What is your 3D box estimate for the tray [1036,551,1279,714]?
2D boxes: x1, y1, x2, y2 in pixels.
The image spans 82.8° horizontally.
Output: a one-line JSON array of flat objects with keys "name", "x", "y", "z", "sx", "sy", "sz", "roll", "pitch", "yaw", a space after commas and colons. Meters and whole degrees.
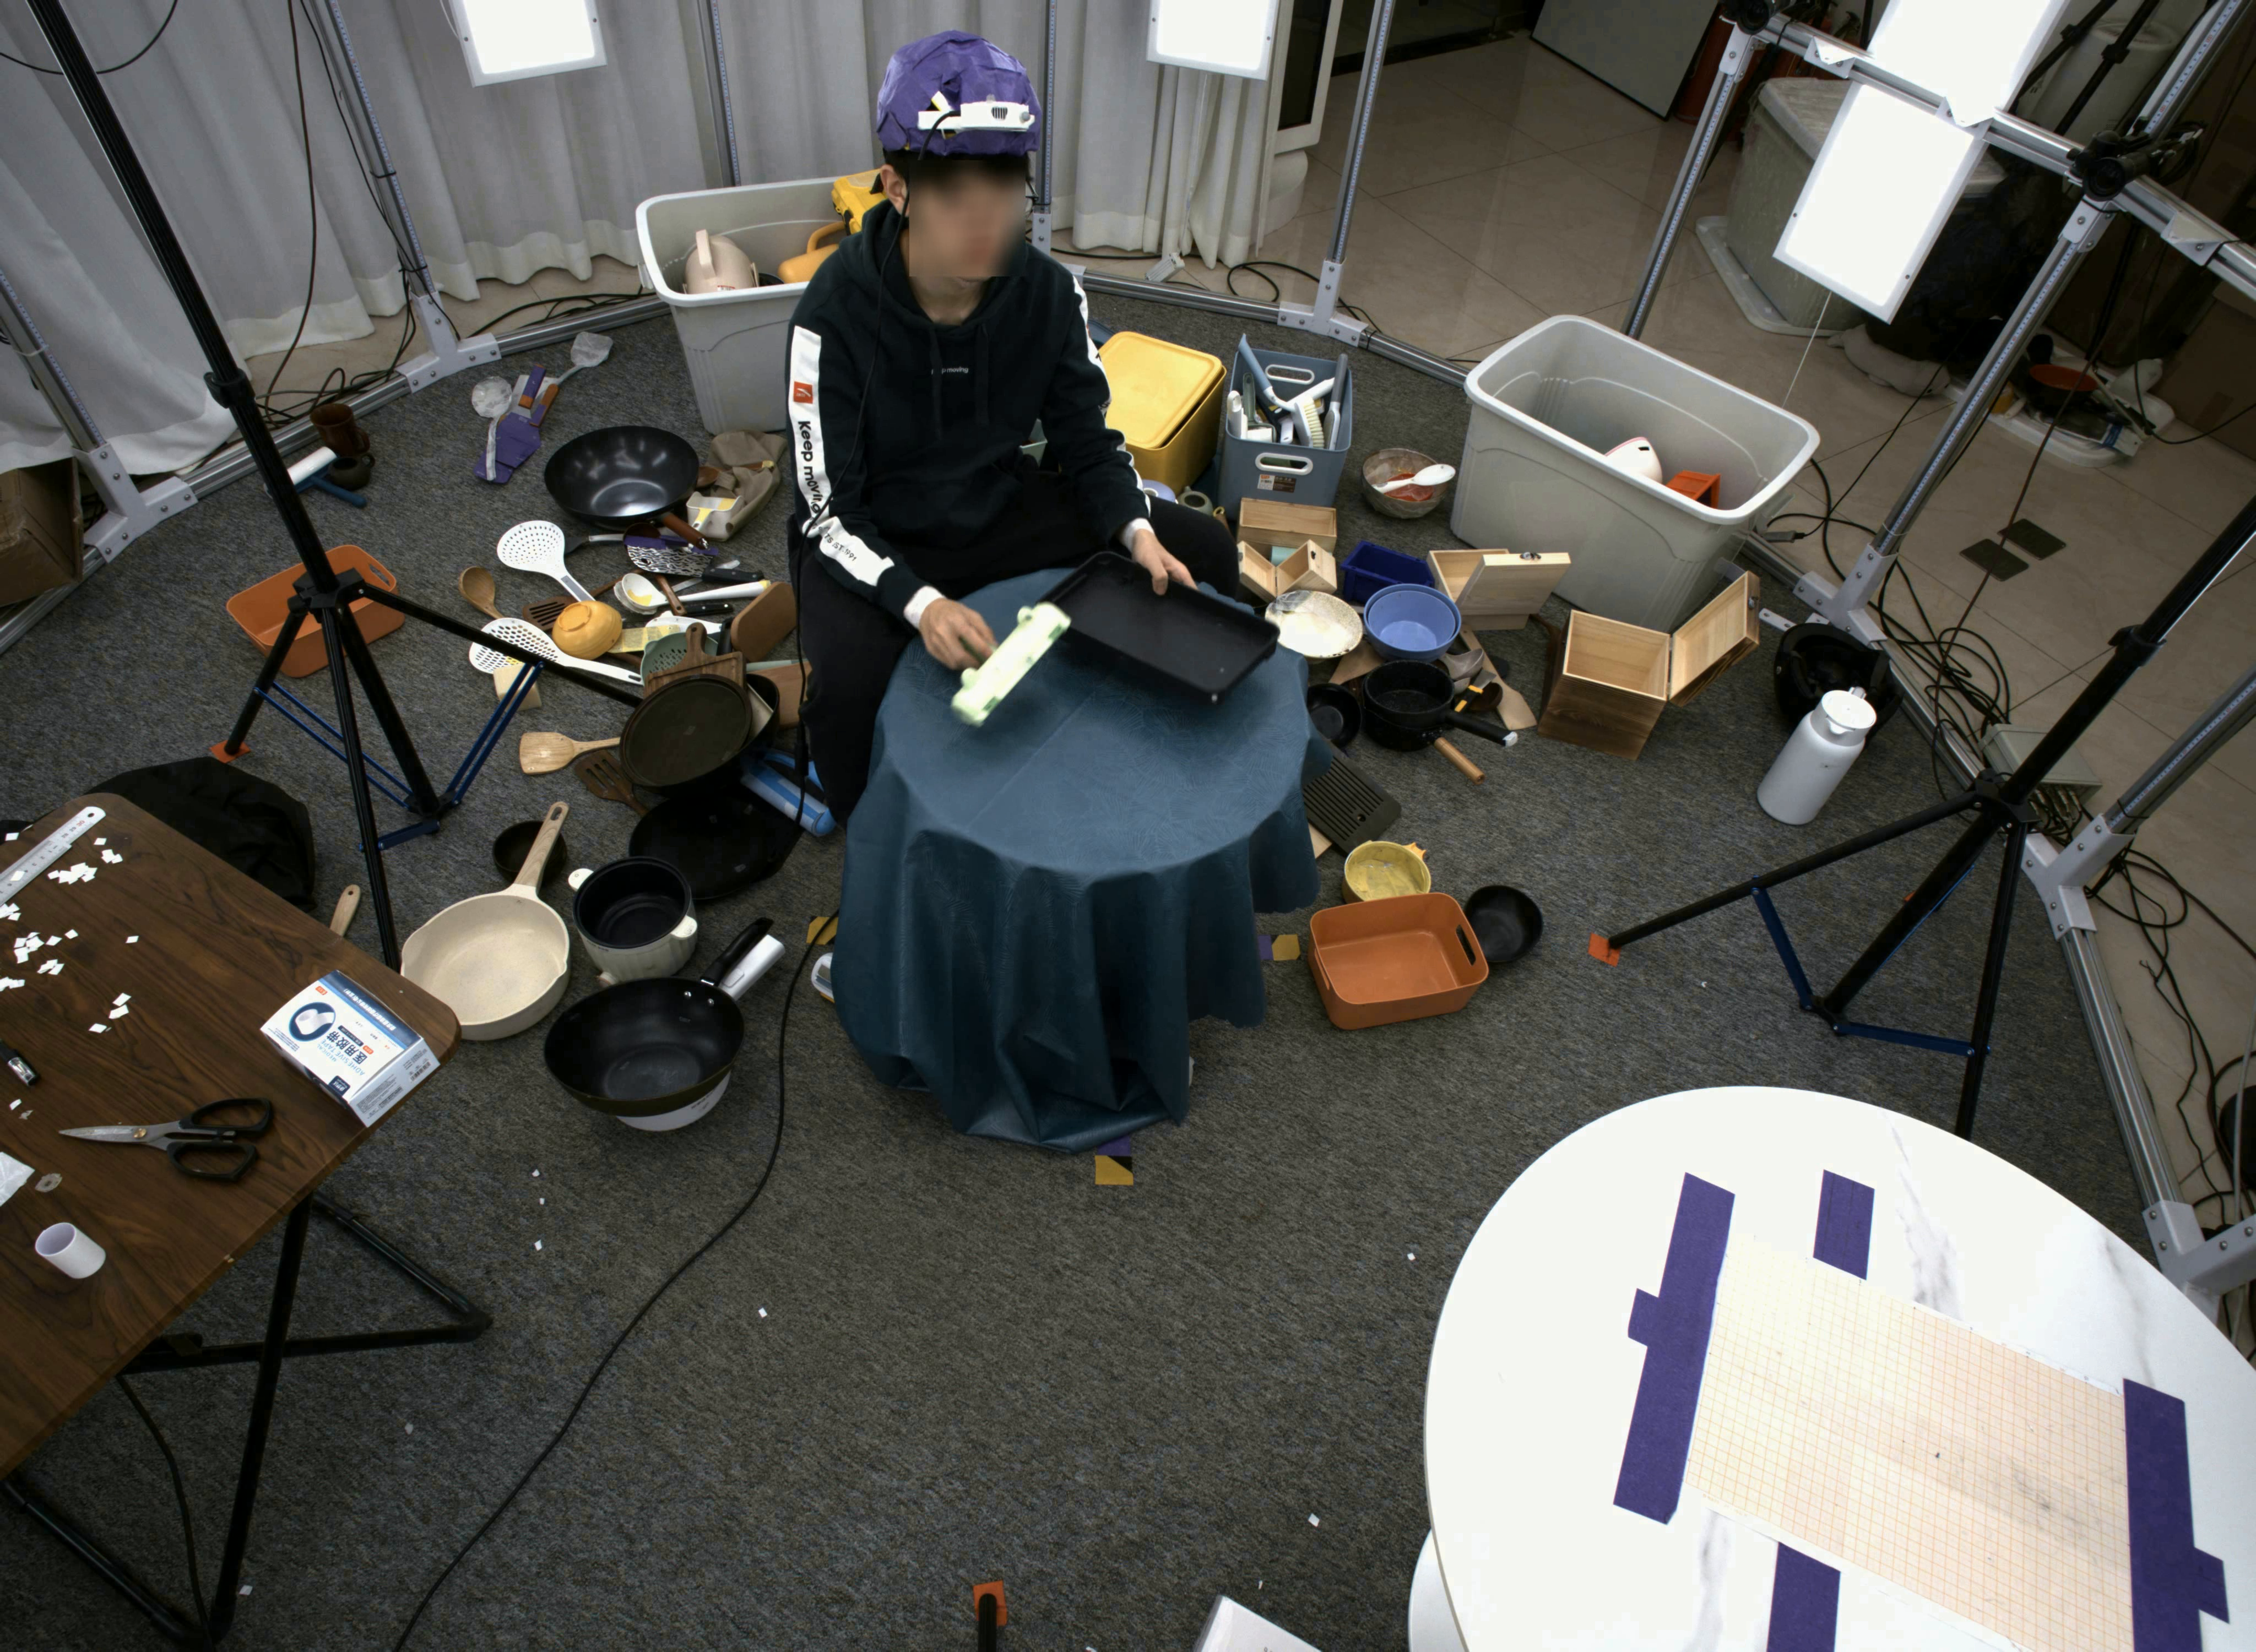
[{"name": "tray", "x": 0.040, "y": -0.281, "z": 1.835, "sx": 0.321, "sy": 0.036, "sz": 0.186, "roll": 30, "pitch": 52, "yaw": 23}]

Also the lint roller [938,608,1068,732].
[{"name": "lint roller", "x": -0.206, "y": -0.242, "z": 1.763, "sx": 0.186, "sy": 0.080, "sz": 0.200, "roll": 32, "pitch": 72, "yaw": 30}]
